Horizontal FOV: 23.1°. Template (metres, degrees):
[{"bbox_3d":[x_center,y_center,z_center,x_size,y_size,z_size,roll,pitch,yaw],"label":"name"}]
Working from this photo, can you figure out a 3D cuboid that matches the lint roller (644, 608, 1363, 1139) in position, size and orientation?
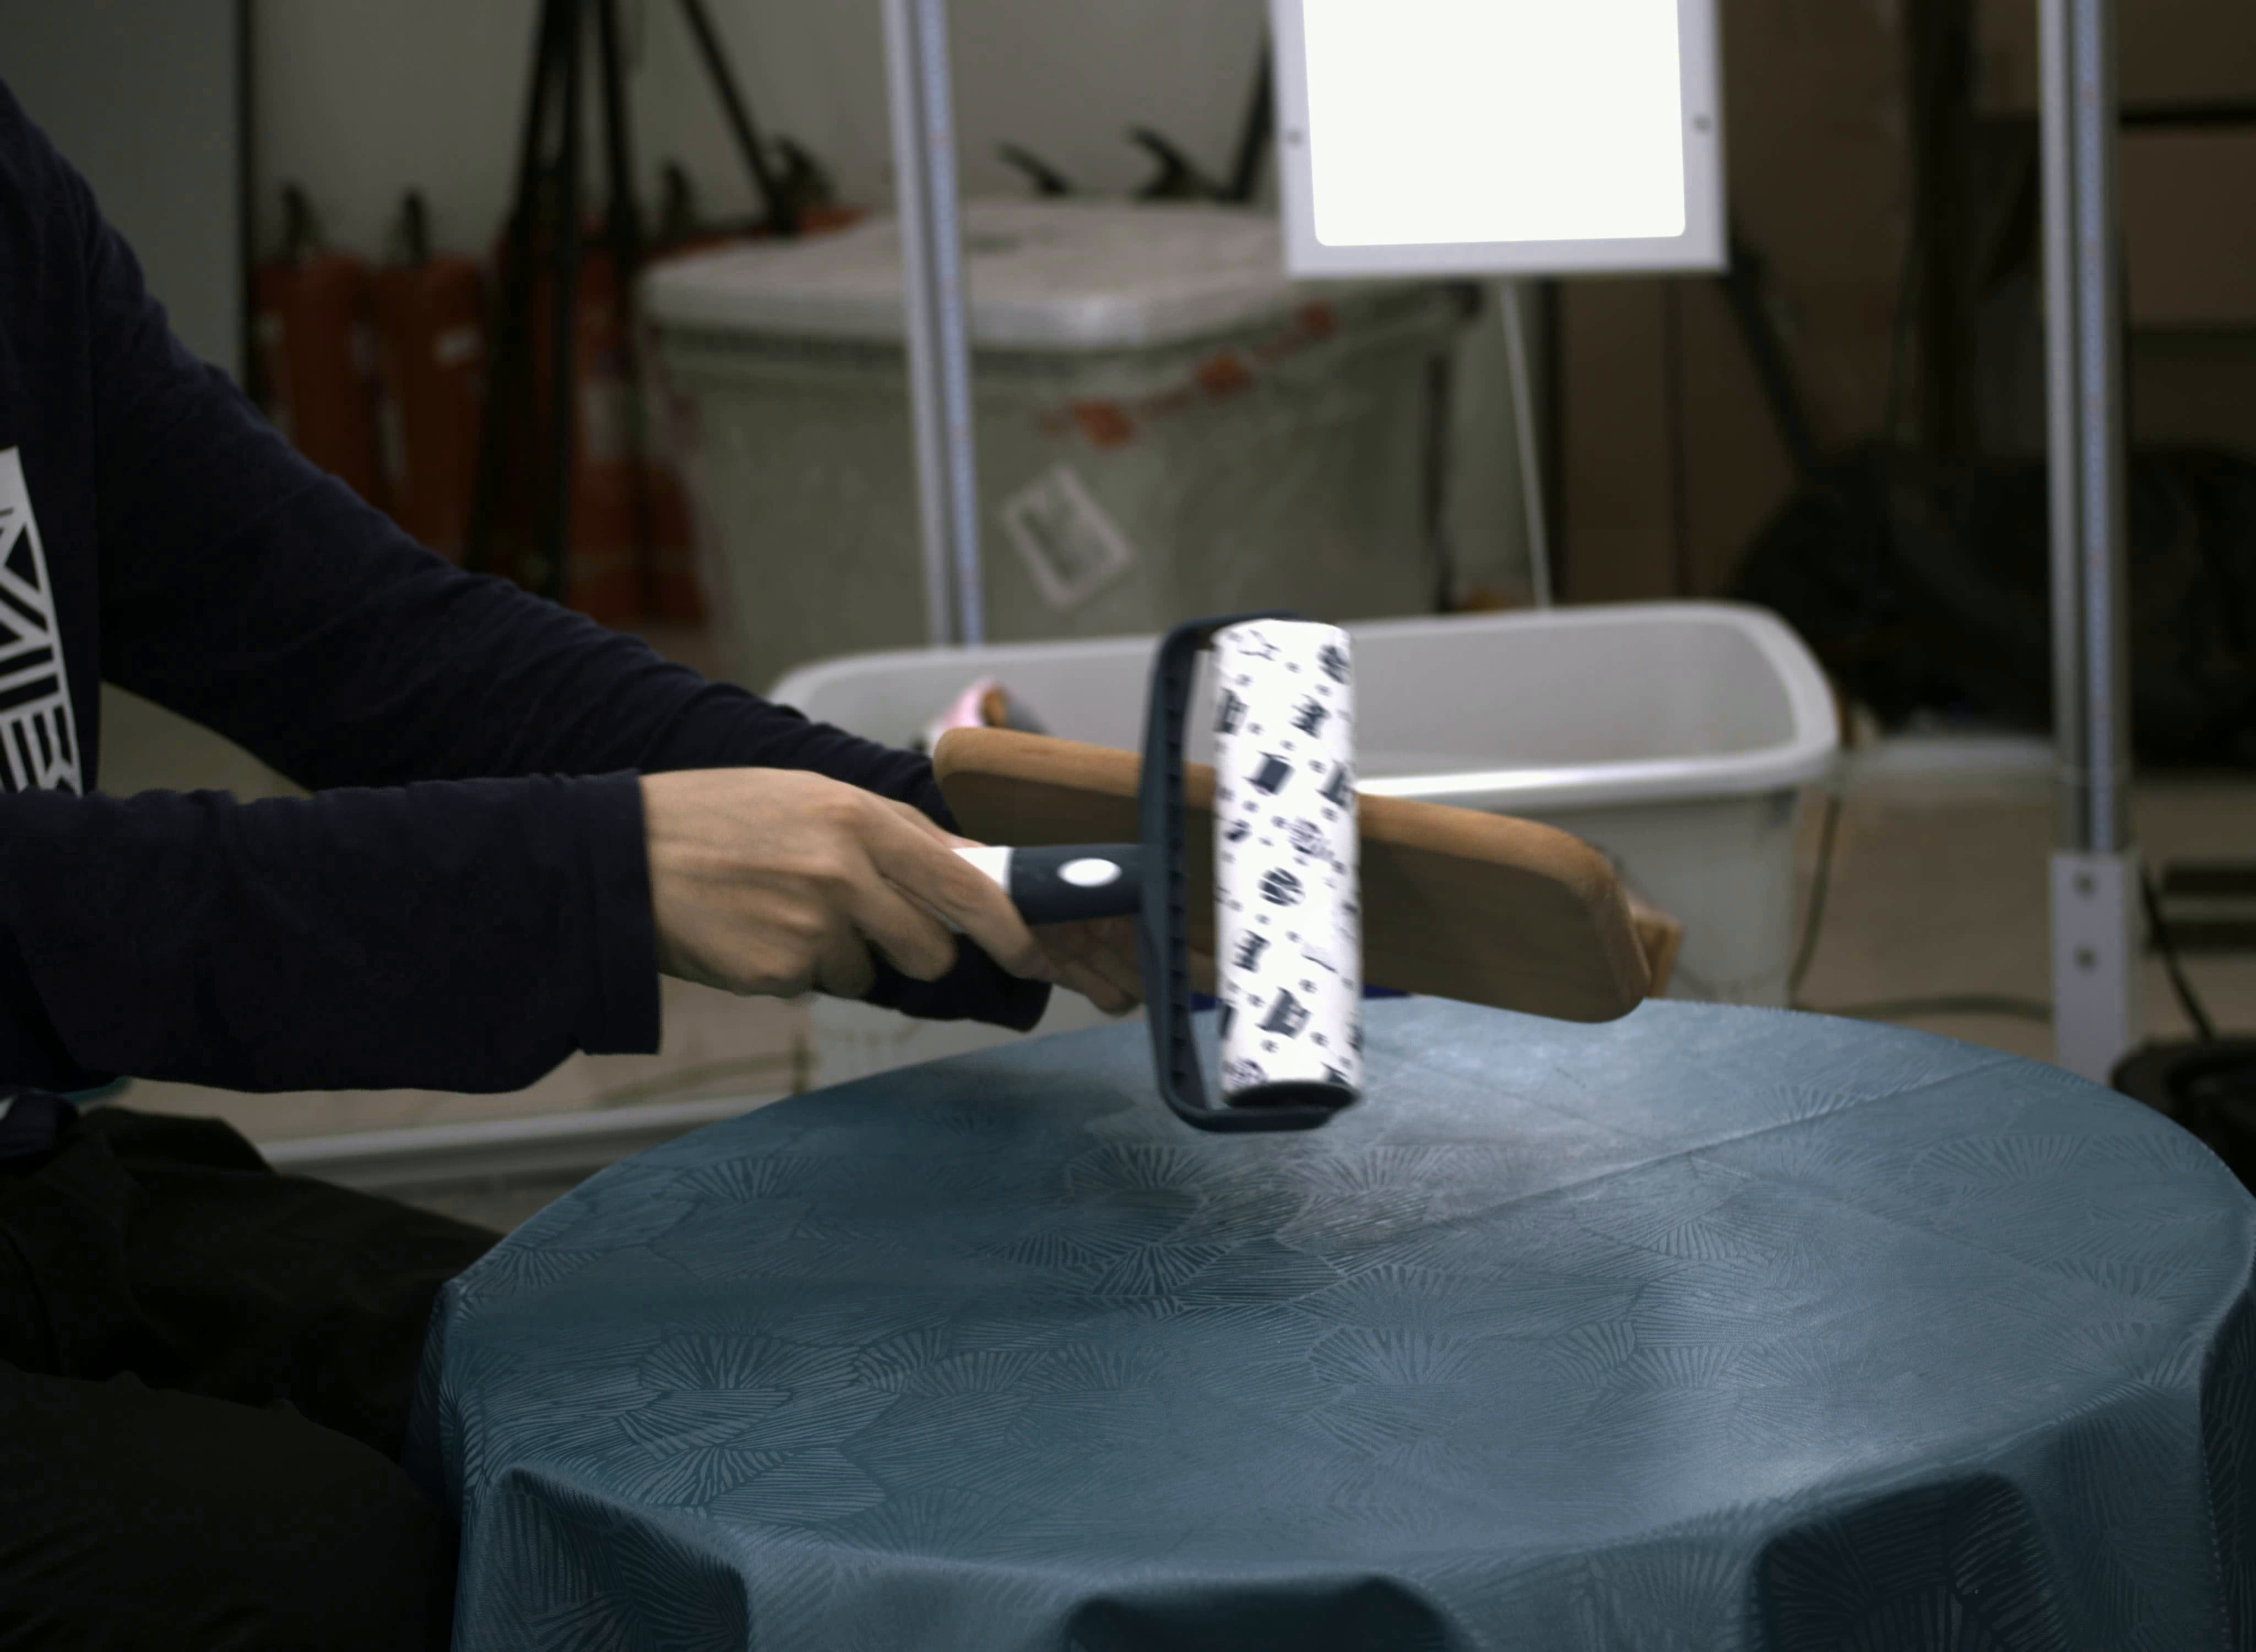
[{"bbox_3d":[-0.044,0.023,1.834,0.249,0.176,0.050,-5,-17,12],"label":"lint roller"}]

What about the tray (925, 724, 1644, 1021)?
[{"bbox_3d":[0.052,0.017,1.907,0.254,0.130,0.022,9,61,24],"label":"tray"}]
